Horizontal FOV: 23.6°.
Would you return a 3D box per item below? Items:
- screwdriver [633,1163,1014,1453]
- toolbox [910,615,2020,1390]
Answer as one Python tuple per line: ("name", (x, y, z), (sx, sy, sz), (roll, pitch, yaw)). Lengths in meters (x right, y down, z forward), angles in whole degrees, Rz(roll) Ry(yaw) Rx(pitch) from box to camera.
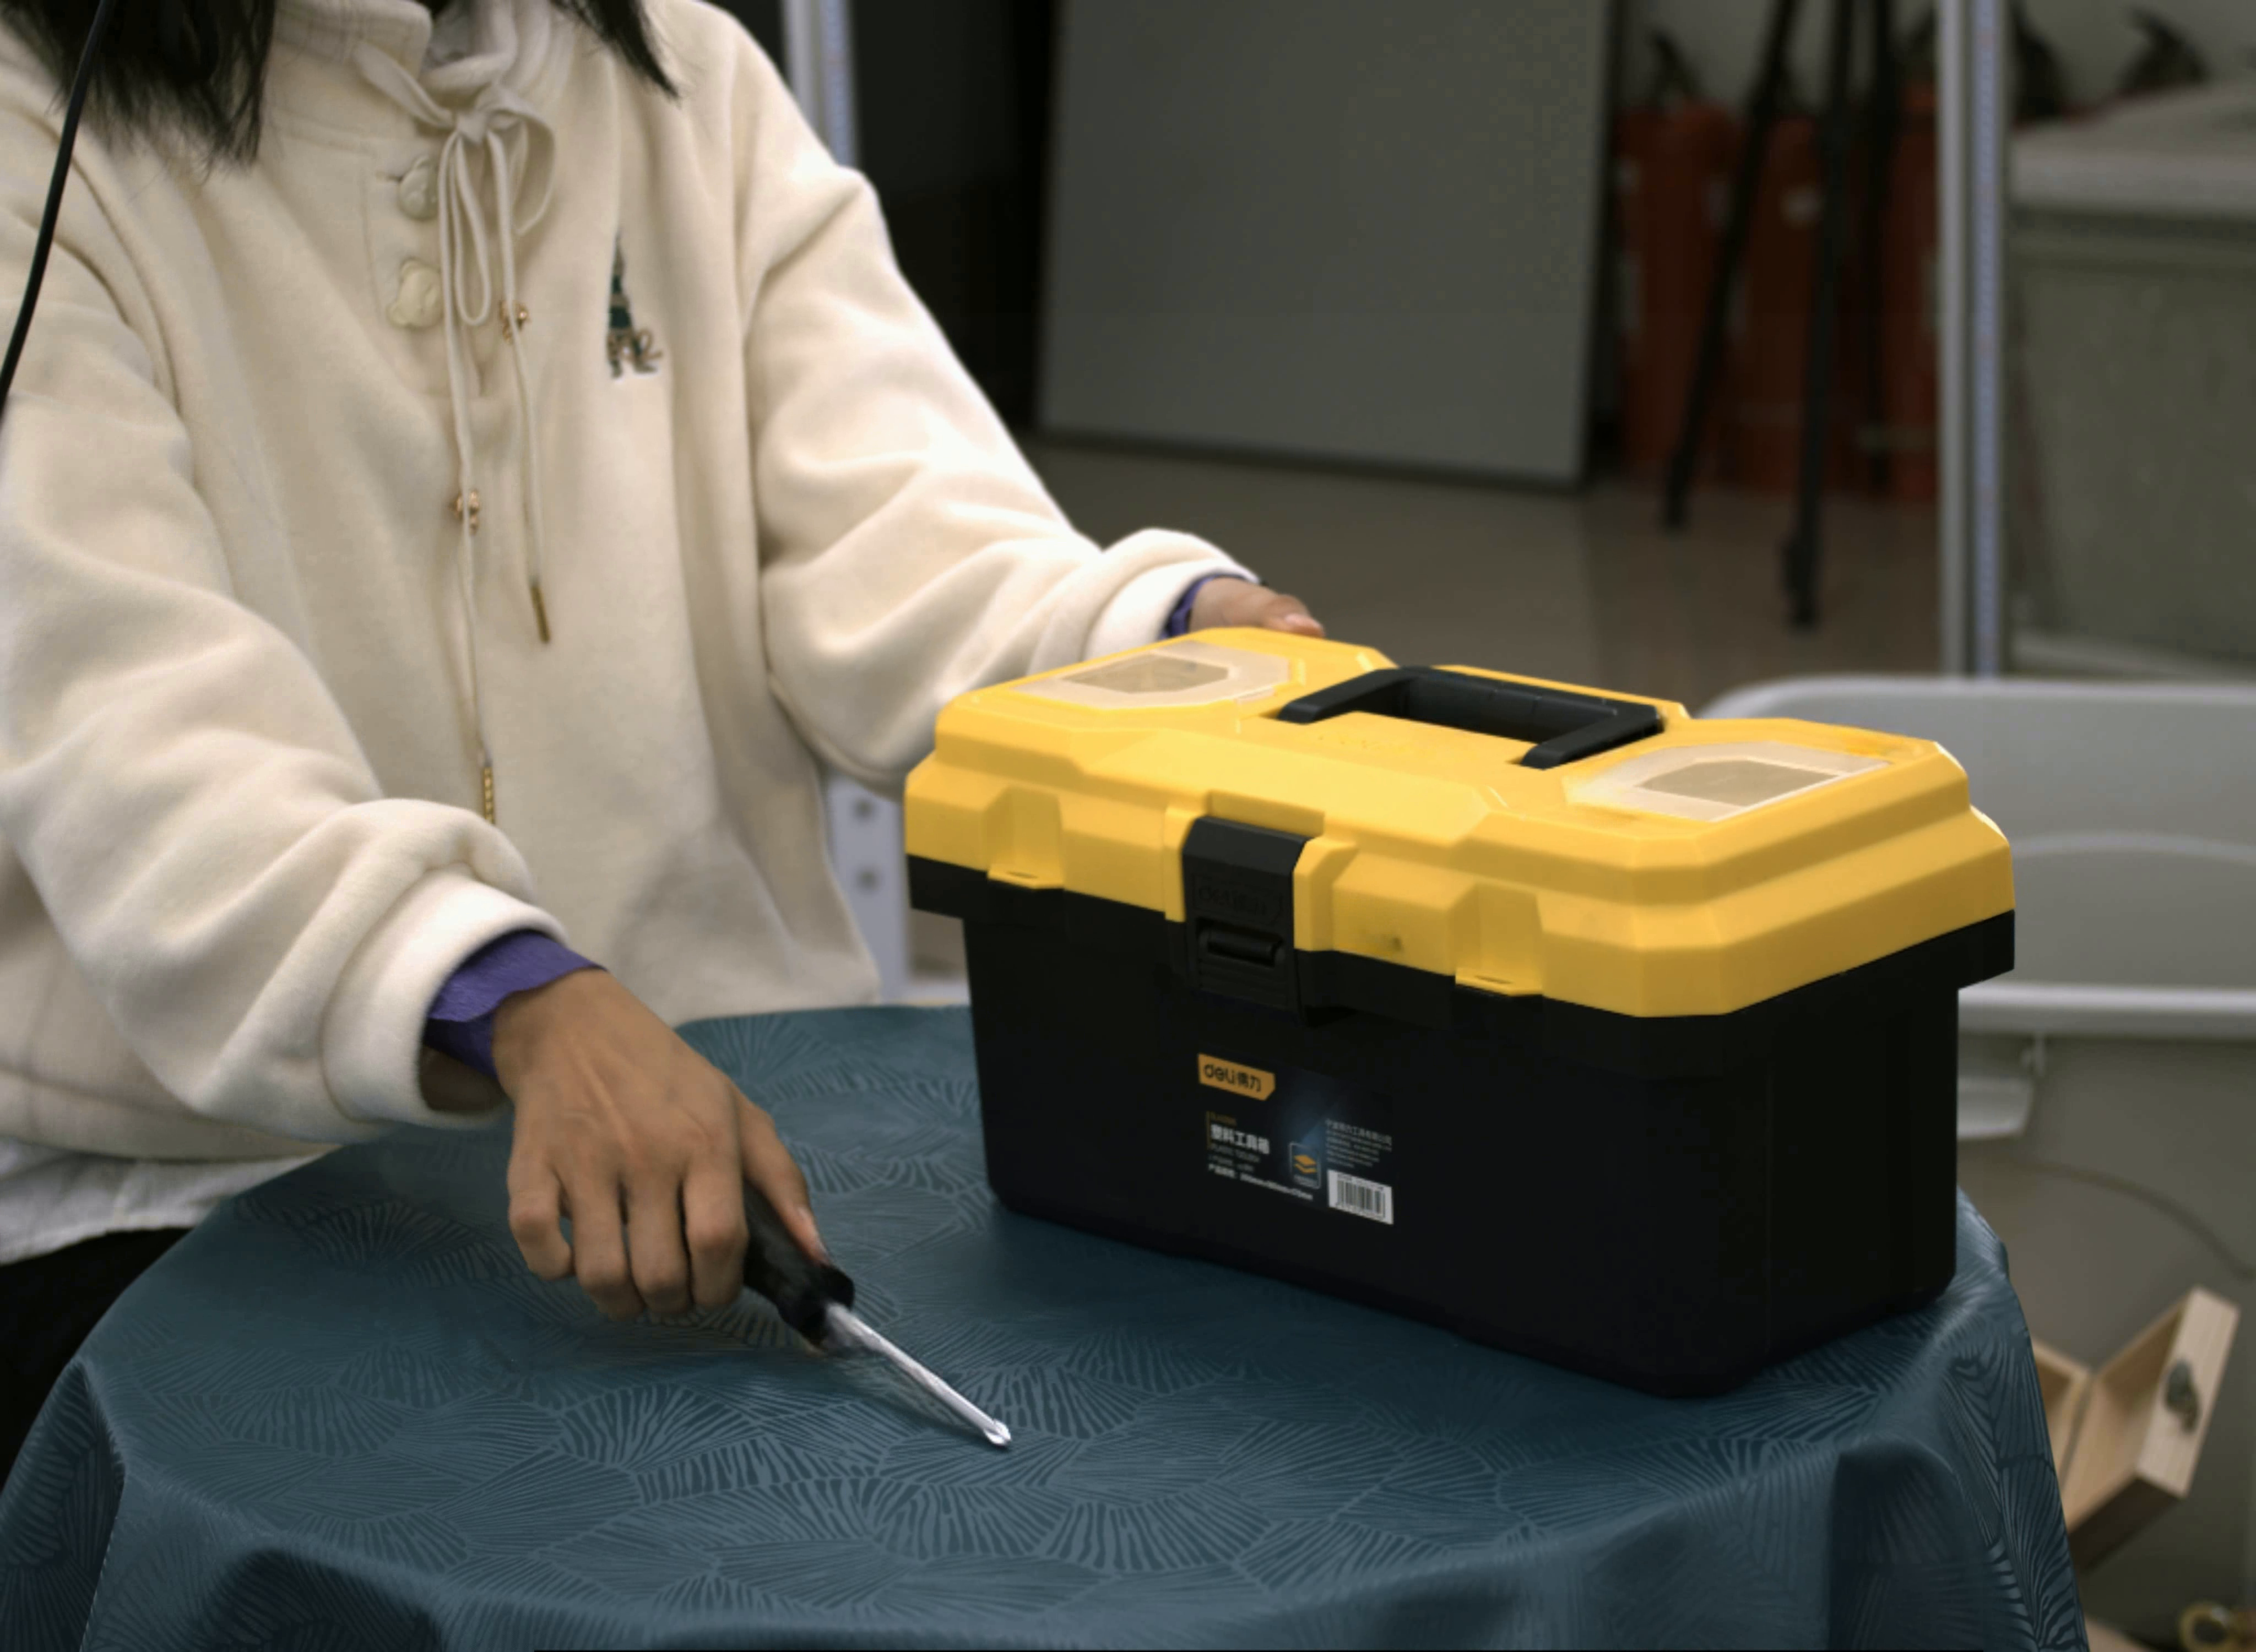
("screwdriver", (-0.092, 0.143, 1.612), (0.031, 0.032, 0.198), (-12, 23, -32))
("toolbox", (0.098, 0.047, 1.673), (0.177, 0.175, 0.355), (-15, 18, -39))
